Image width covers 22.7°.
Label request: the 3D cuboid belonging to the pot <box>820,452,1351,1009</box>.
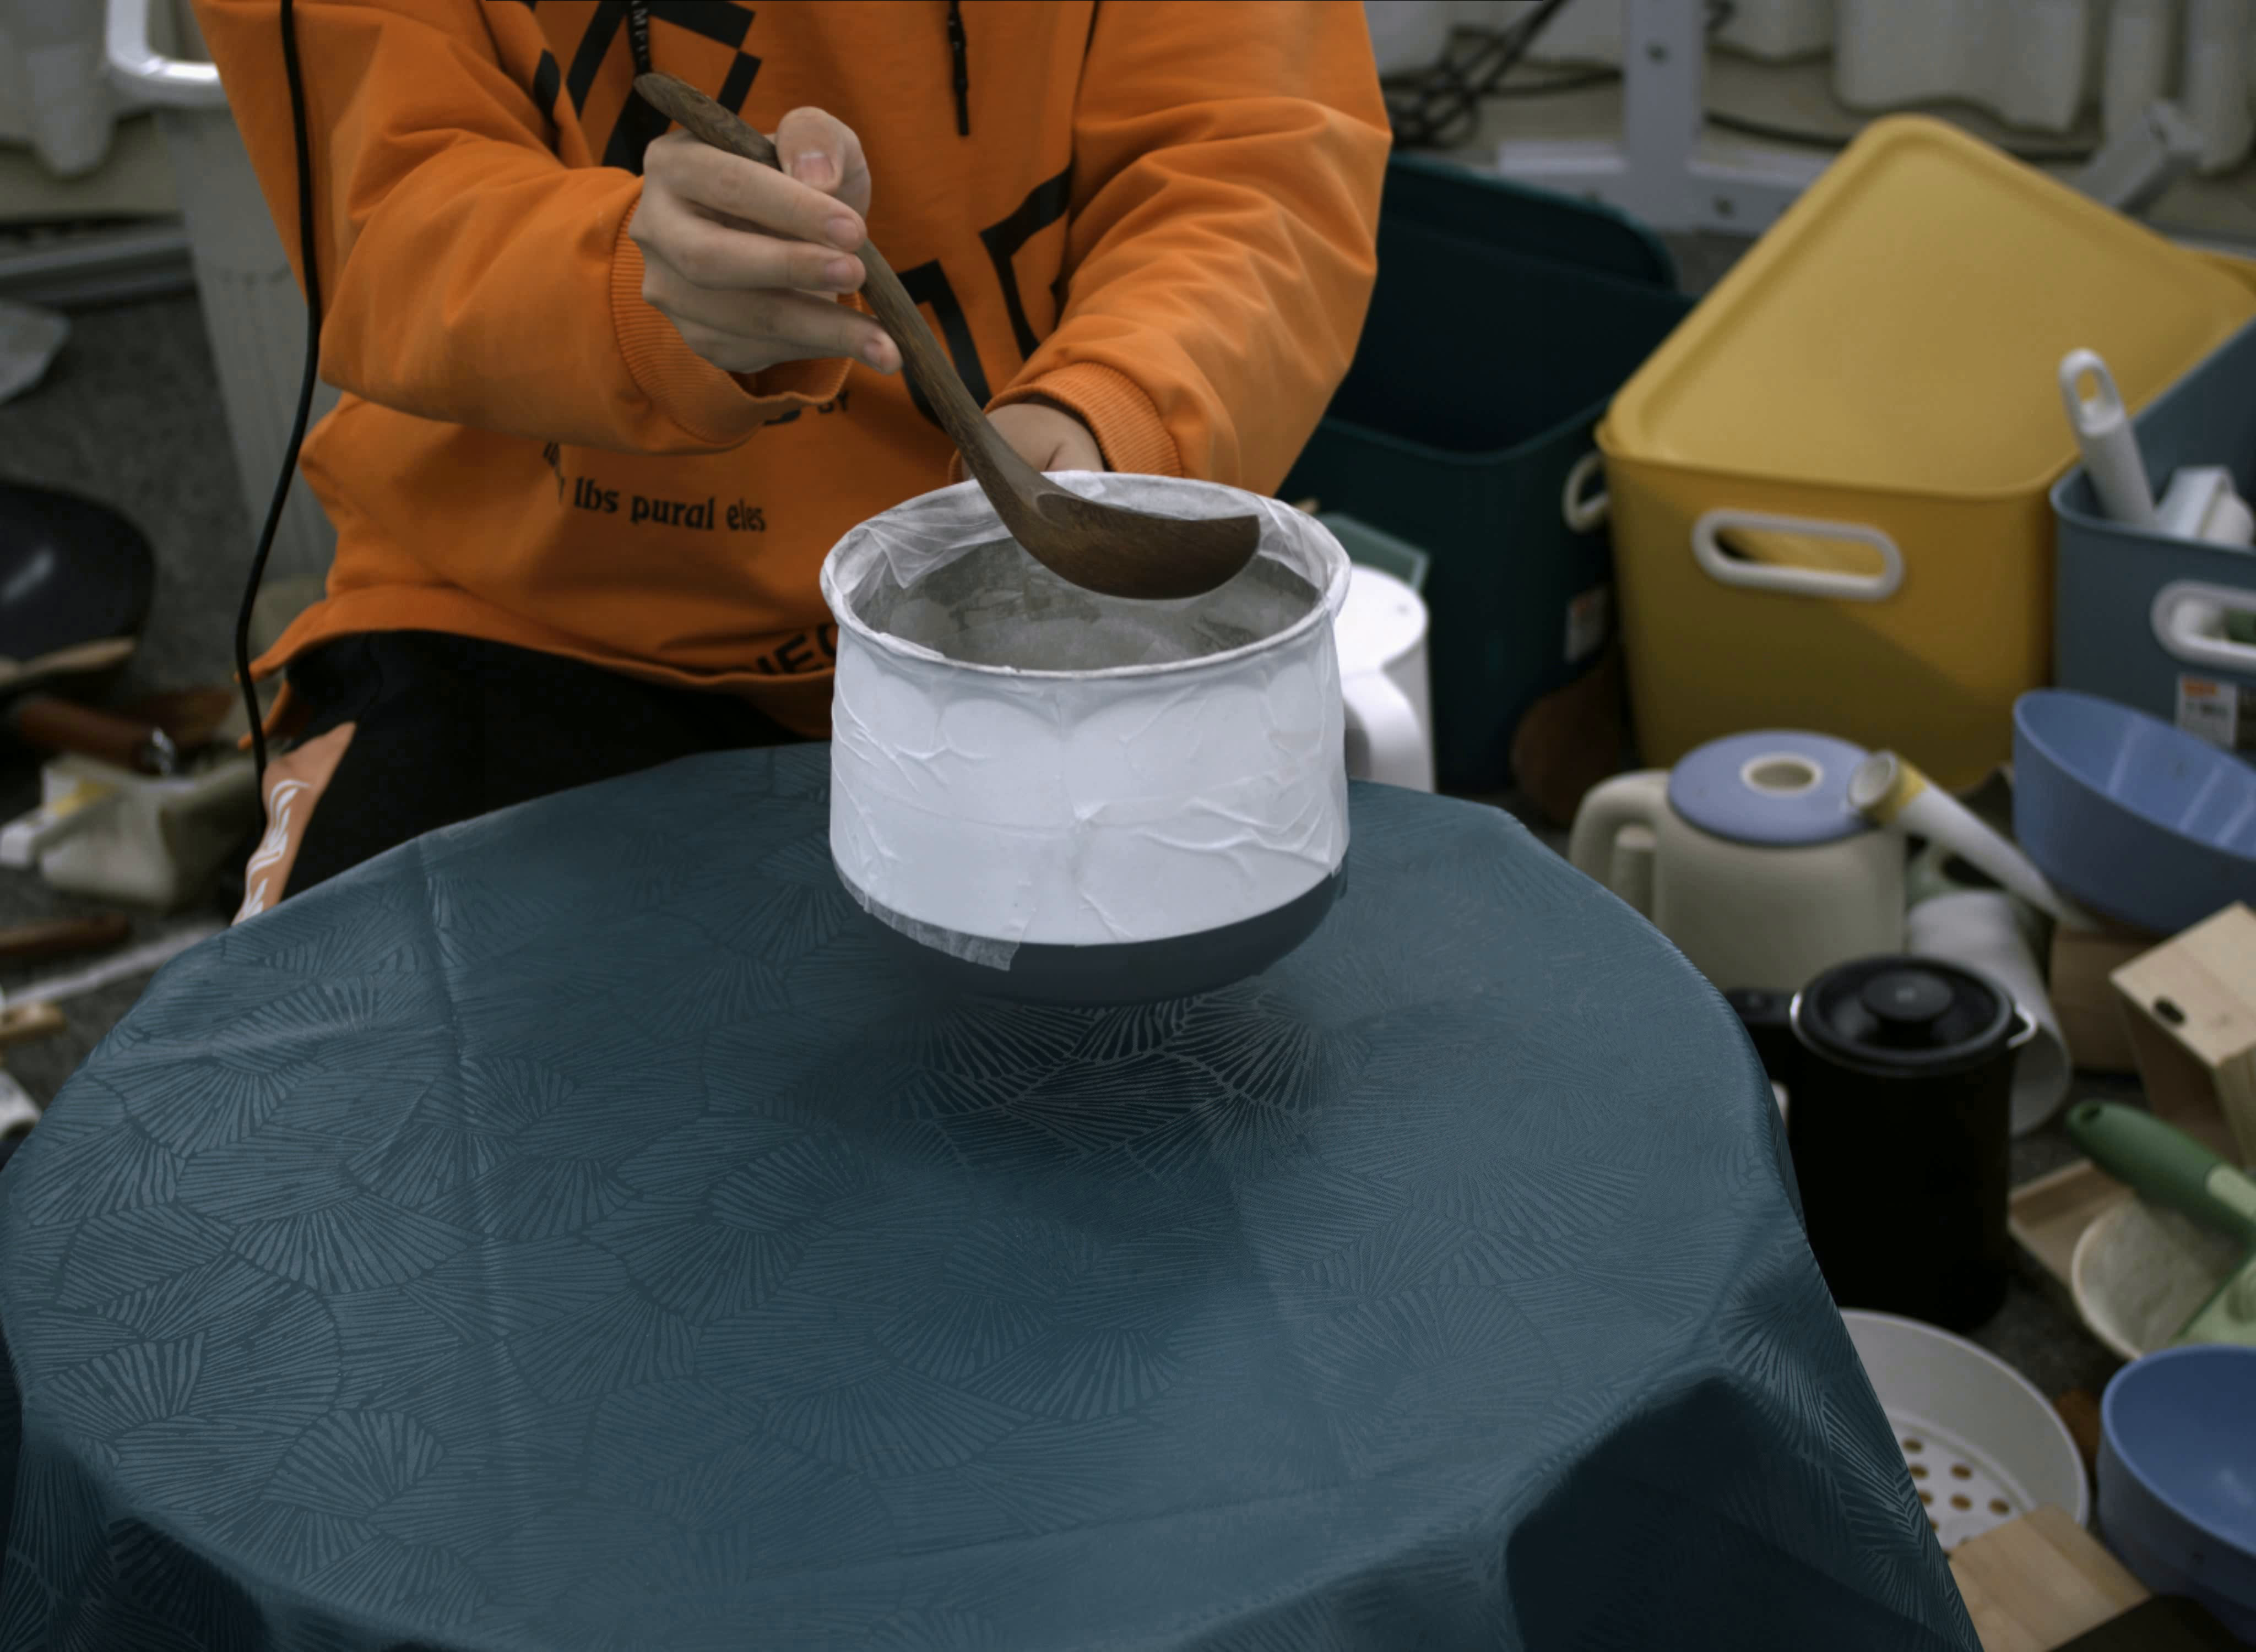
[{"bbox_3d":[-0.022,-0.039,1.916,0.179,0.135,0.235,-8,25,-17],"label":"pot"}]

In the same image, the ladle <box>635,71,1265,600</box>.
[{"bbox_3d":[-0.060,-0.178,1.906,0.275,0.070,0.076,51,17,14],"label":"ladle"}]
